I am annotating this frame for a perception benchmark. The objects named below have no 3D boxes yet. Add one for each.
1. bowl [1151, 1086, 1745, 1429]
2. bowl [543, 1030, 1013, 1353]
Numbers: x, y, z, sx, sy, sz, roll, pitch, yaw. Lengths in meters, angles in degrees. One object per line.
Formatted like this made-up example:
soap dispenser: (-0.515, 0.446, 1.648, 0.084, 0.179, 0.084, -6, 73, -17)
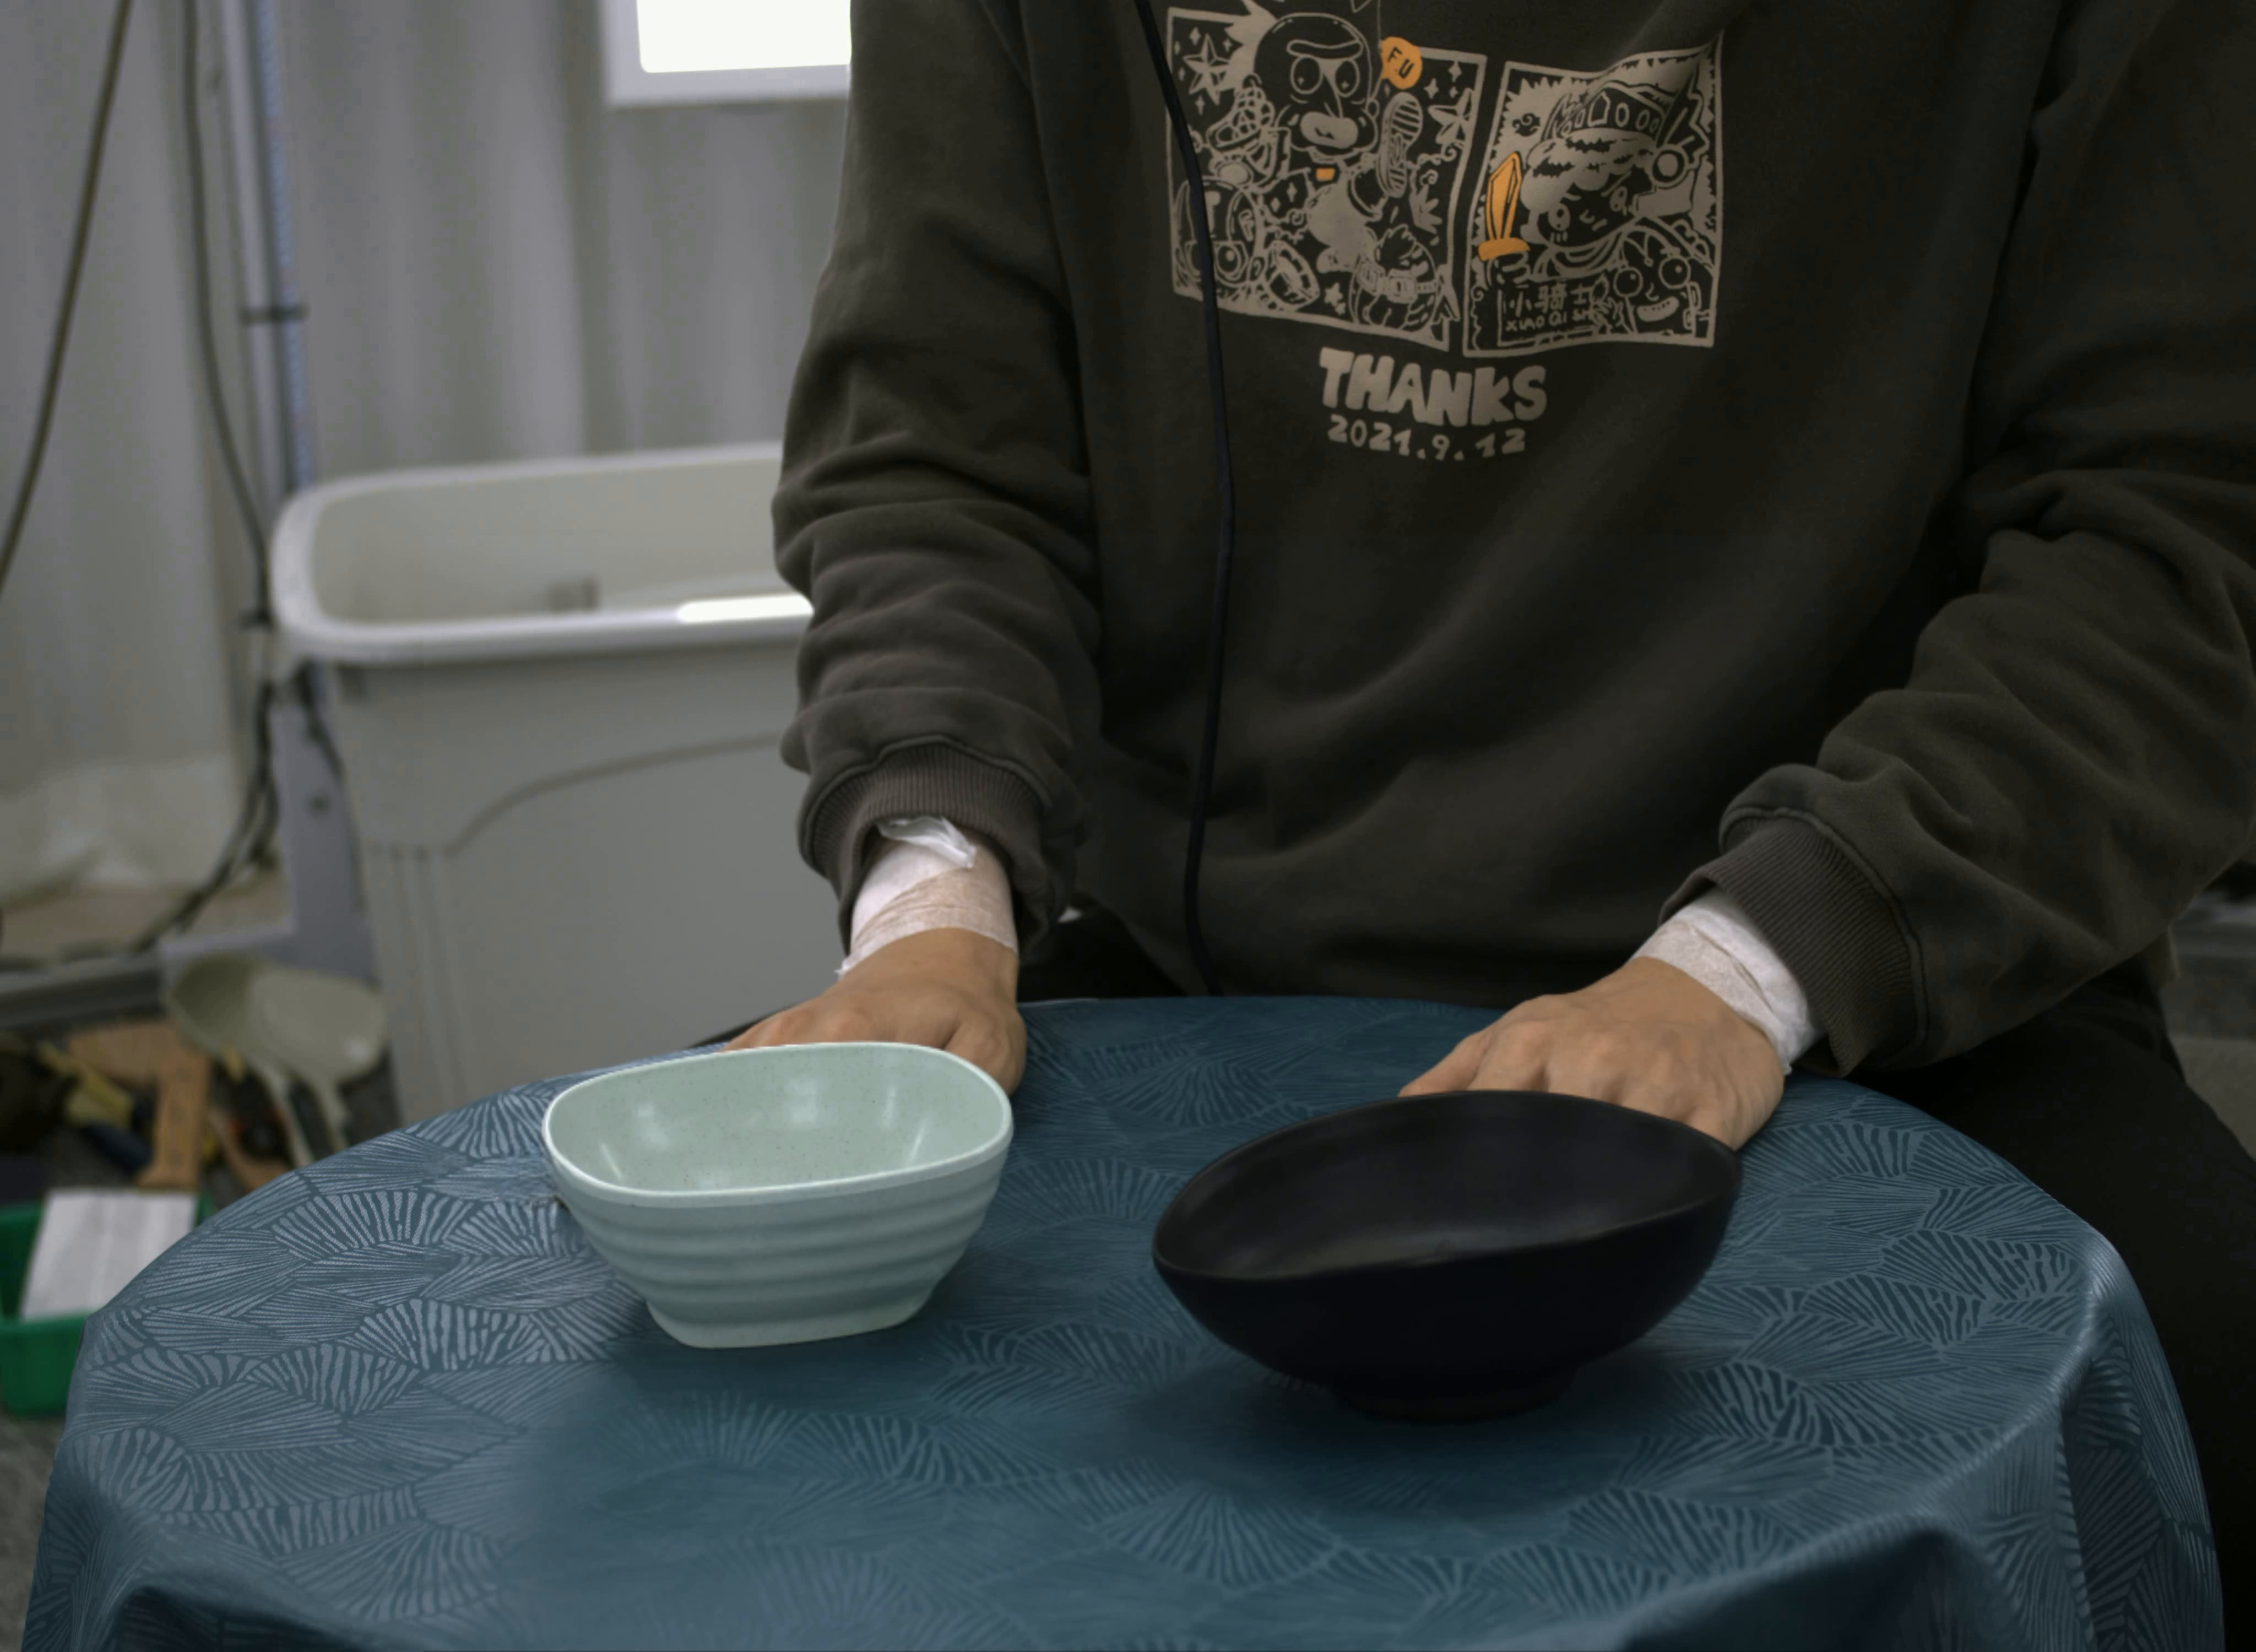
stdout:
bowl: (0.092, 0.127, 1.536, 0.169, 0.066, 0.138, -8, 16, -15)
bowl: (-0.103, 0.113, 1.637, 0.151, 0.058, 0.152, -3, 17, 1)
